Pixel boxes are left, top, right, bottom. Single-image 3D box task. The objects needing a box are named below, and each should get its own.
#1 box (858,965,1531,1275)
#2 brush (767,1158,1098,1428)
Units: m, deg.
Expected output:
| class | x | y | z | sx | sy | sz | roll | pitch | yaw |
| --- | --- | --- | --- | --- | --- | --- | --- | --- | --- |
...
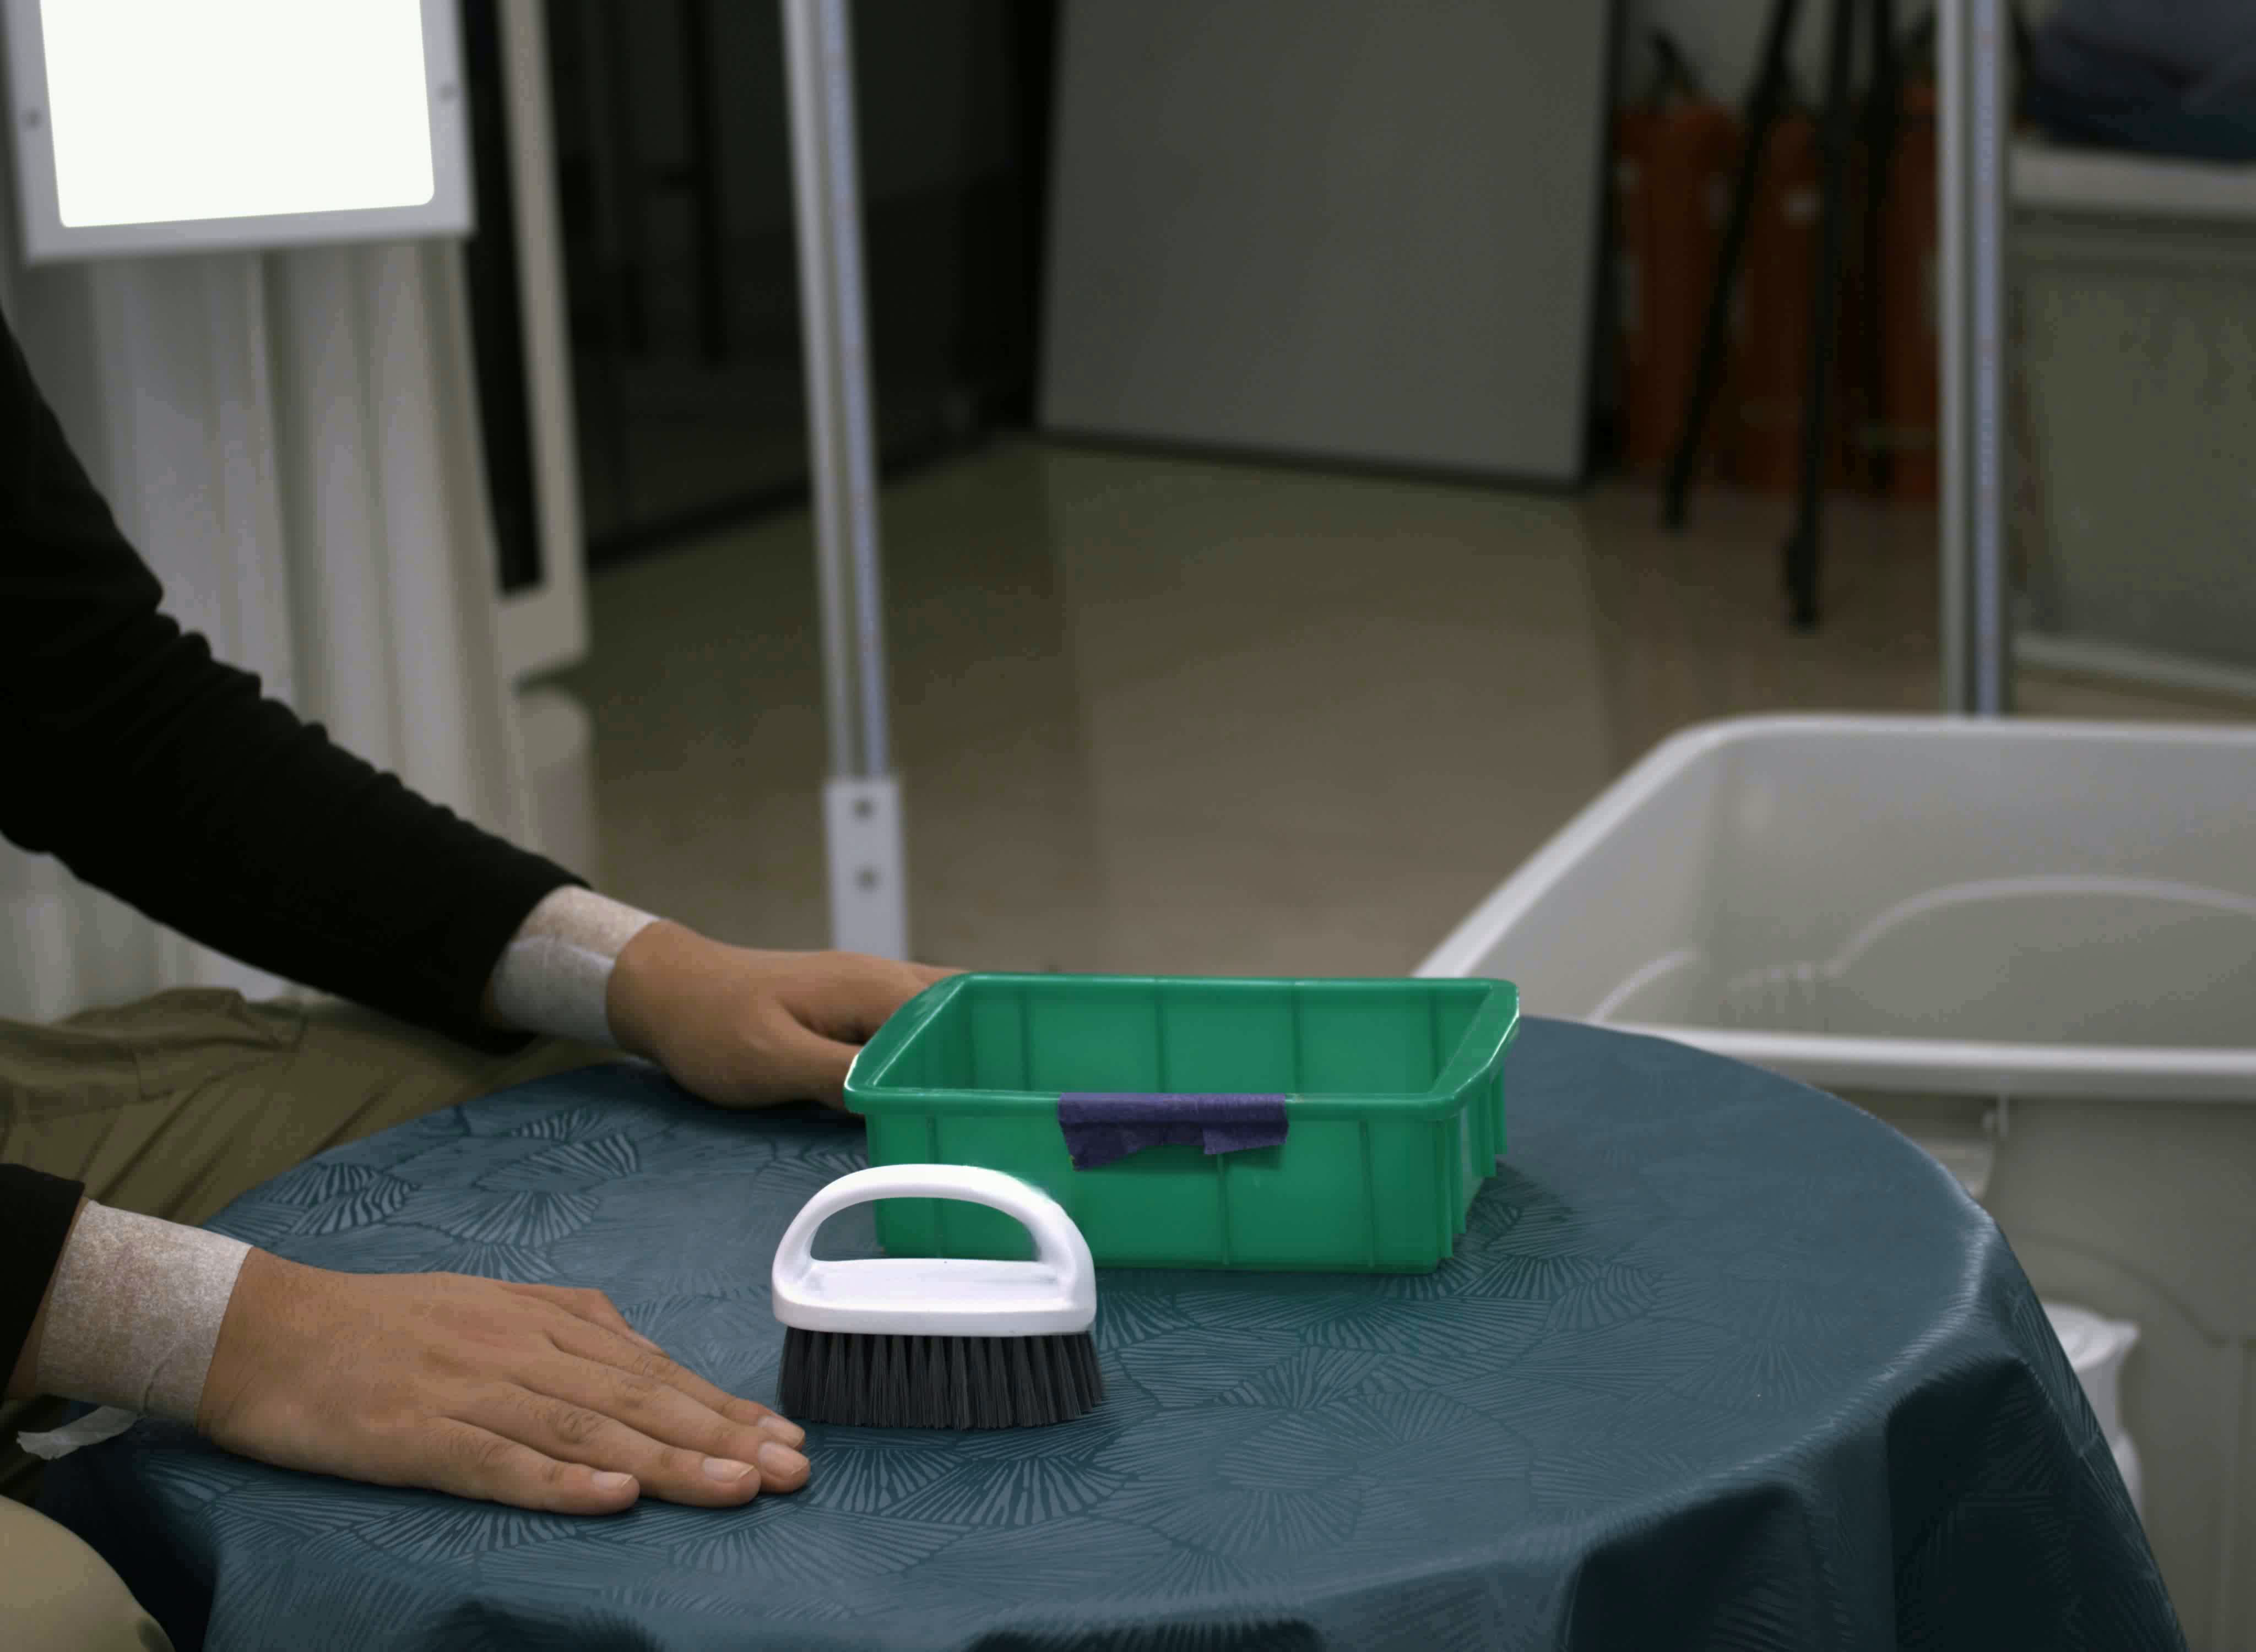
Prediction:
| class | x | y | z | sx | sy | sz | roll | pitch | yaw |
| --- | --- | --- | --- | --- | --- | --- | --- | --- | --- |
| box | 0.024 | 0.095 | 1.739 | 0.209 | 0.066 | 0.138 | 1 | 16 | 13 |
| brush | -0.058 | 0.133 | 1.581 | 0.099 | 0.073 | 0.050 | 0 | 14 | 18 |
